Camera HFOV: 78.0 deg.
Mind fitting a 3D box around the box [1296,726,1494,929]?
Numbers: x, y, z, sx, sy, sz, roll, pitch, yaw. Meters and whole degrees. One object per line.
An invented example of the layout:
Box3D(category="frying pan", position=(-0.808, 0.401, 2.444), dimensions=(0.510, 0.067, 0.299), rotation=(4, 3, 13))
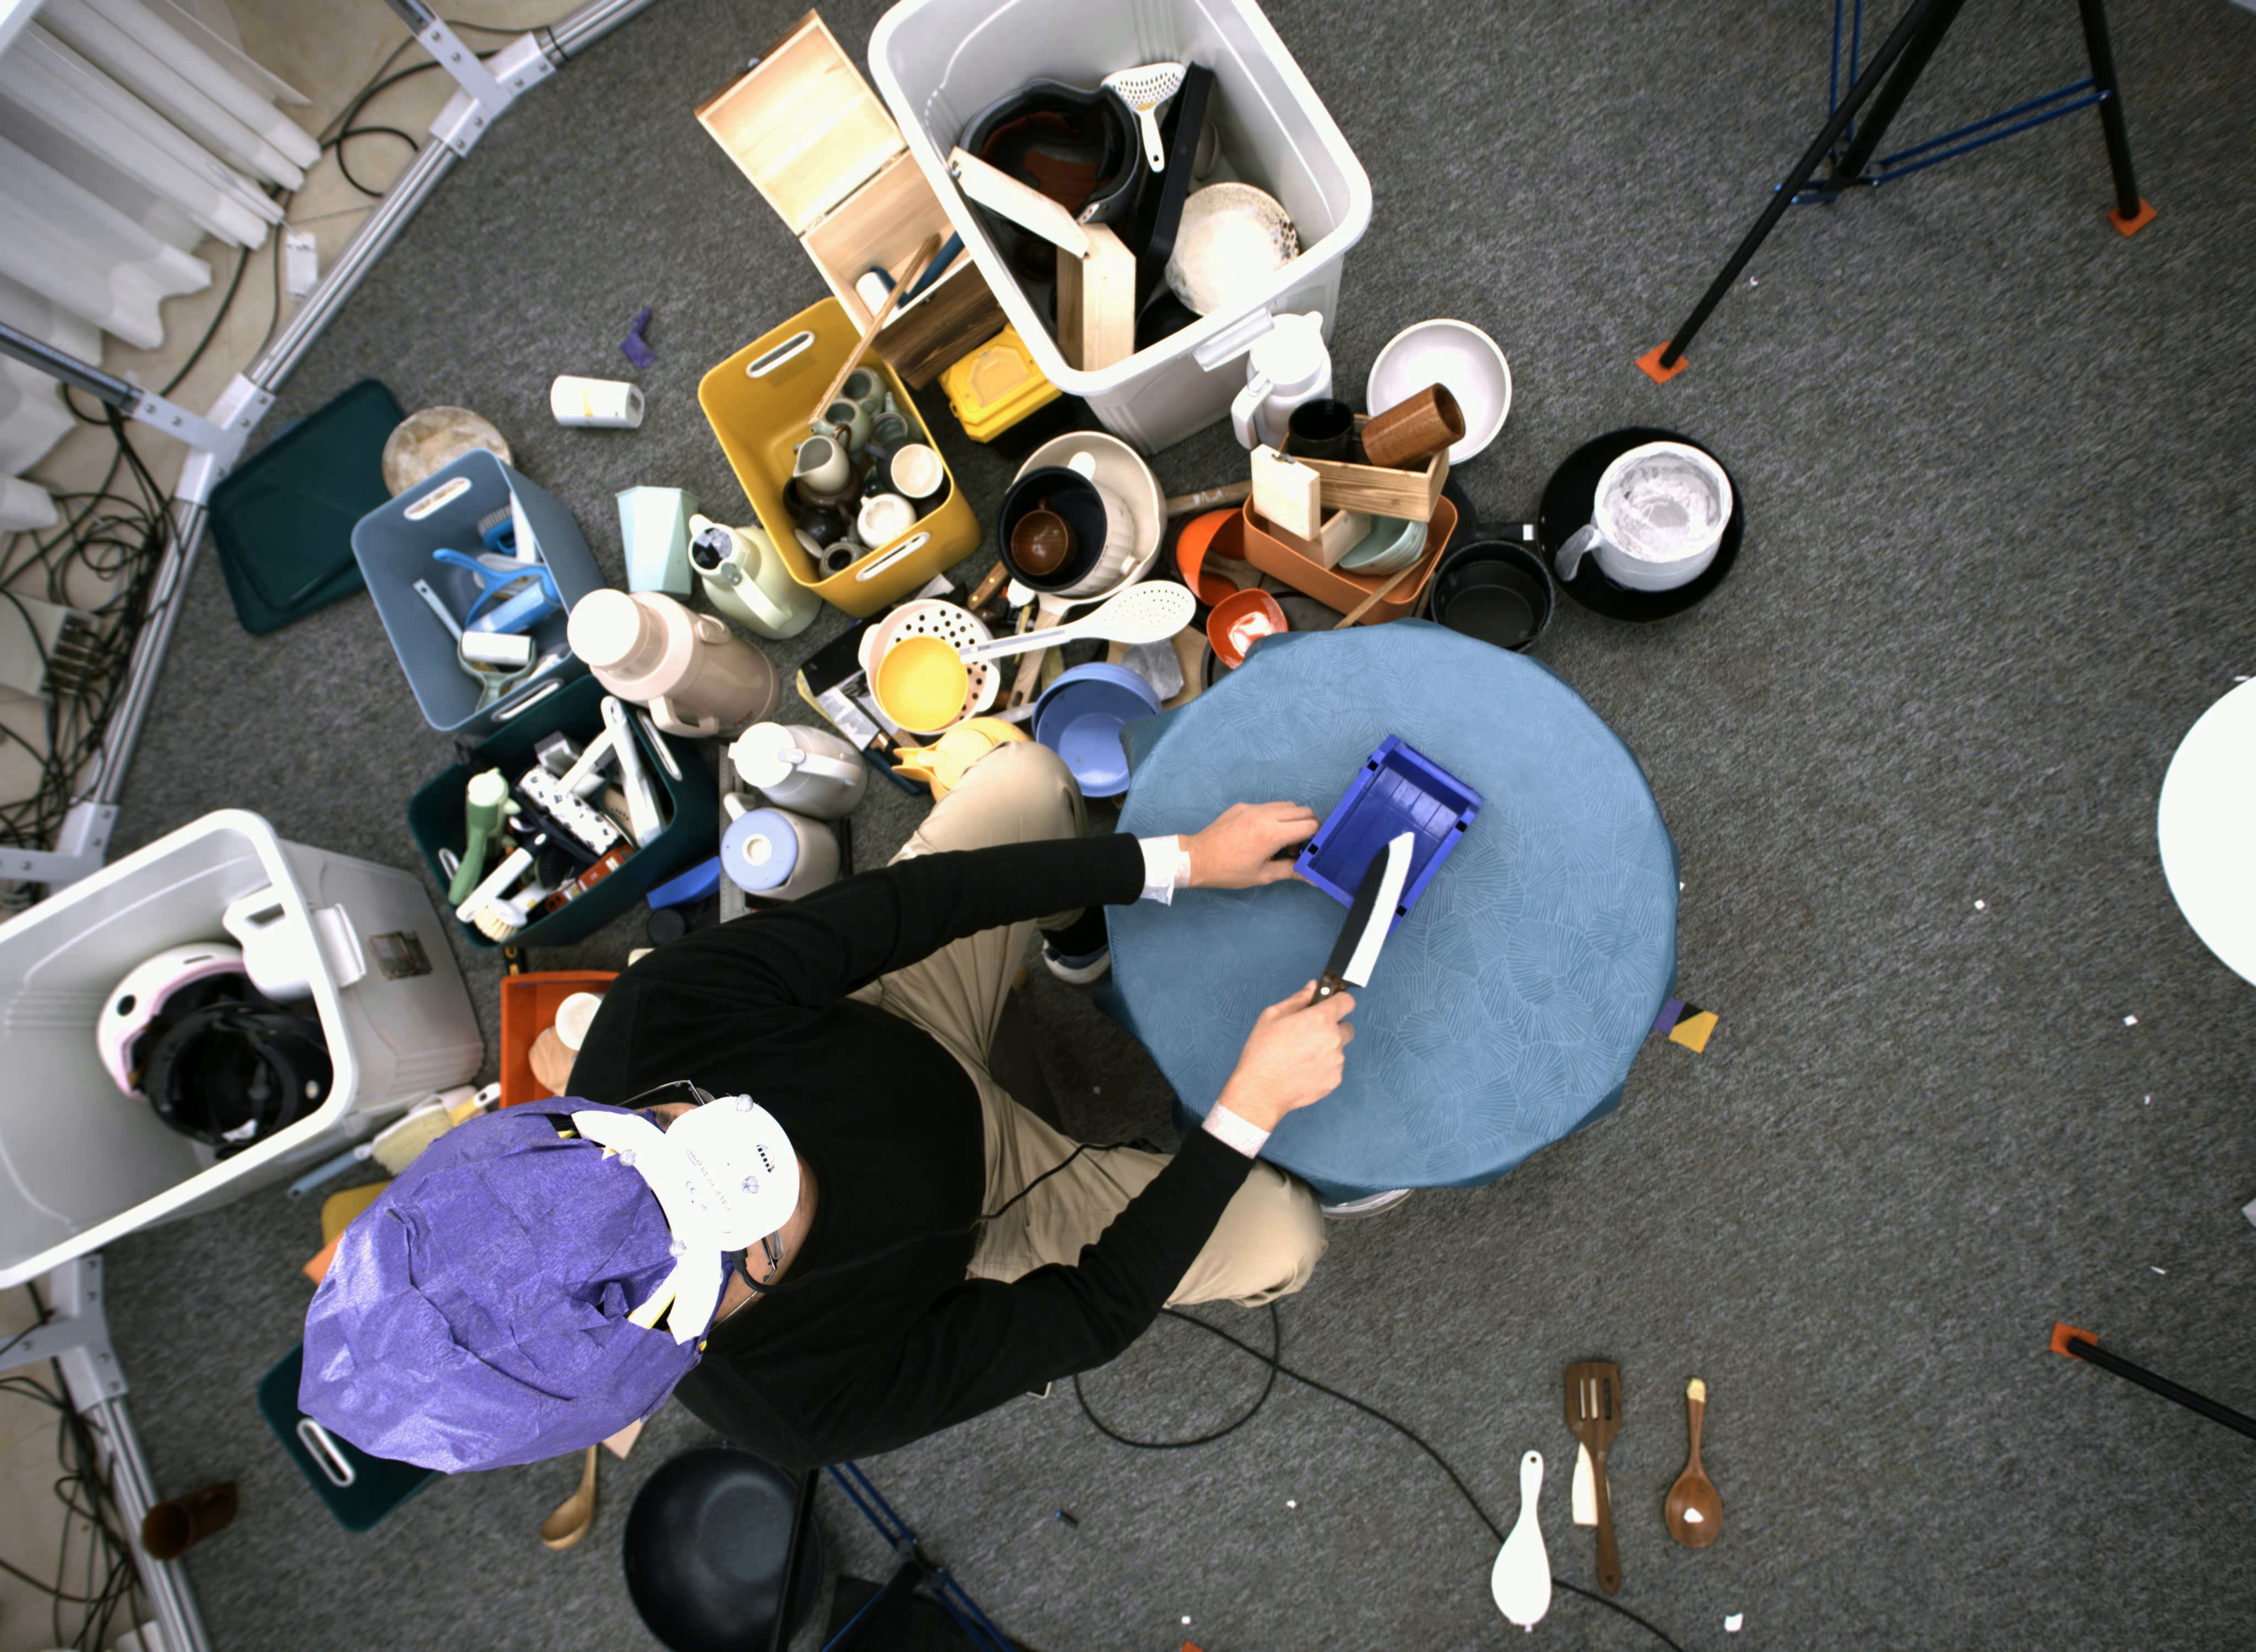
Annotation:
Box3D(category="box", position=(0.275, -0.003, 1.421), dimensions=(0.124, 0.082, 0.180), rotation=(37, 96, 11))

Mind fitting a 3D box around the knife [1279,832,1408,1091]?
Box3D(category="knife", position=(0.214, 0.129, 1.356), dimensions=(0.050, 0.020, 0.286), rotation=(20, 77, 29))
